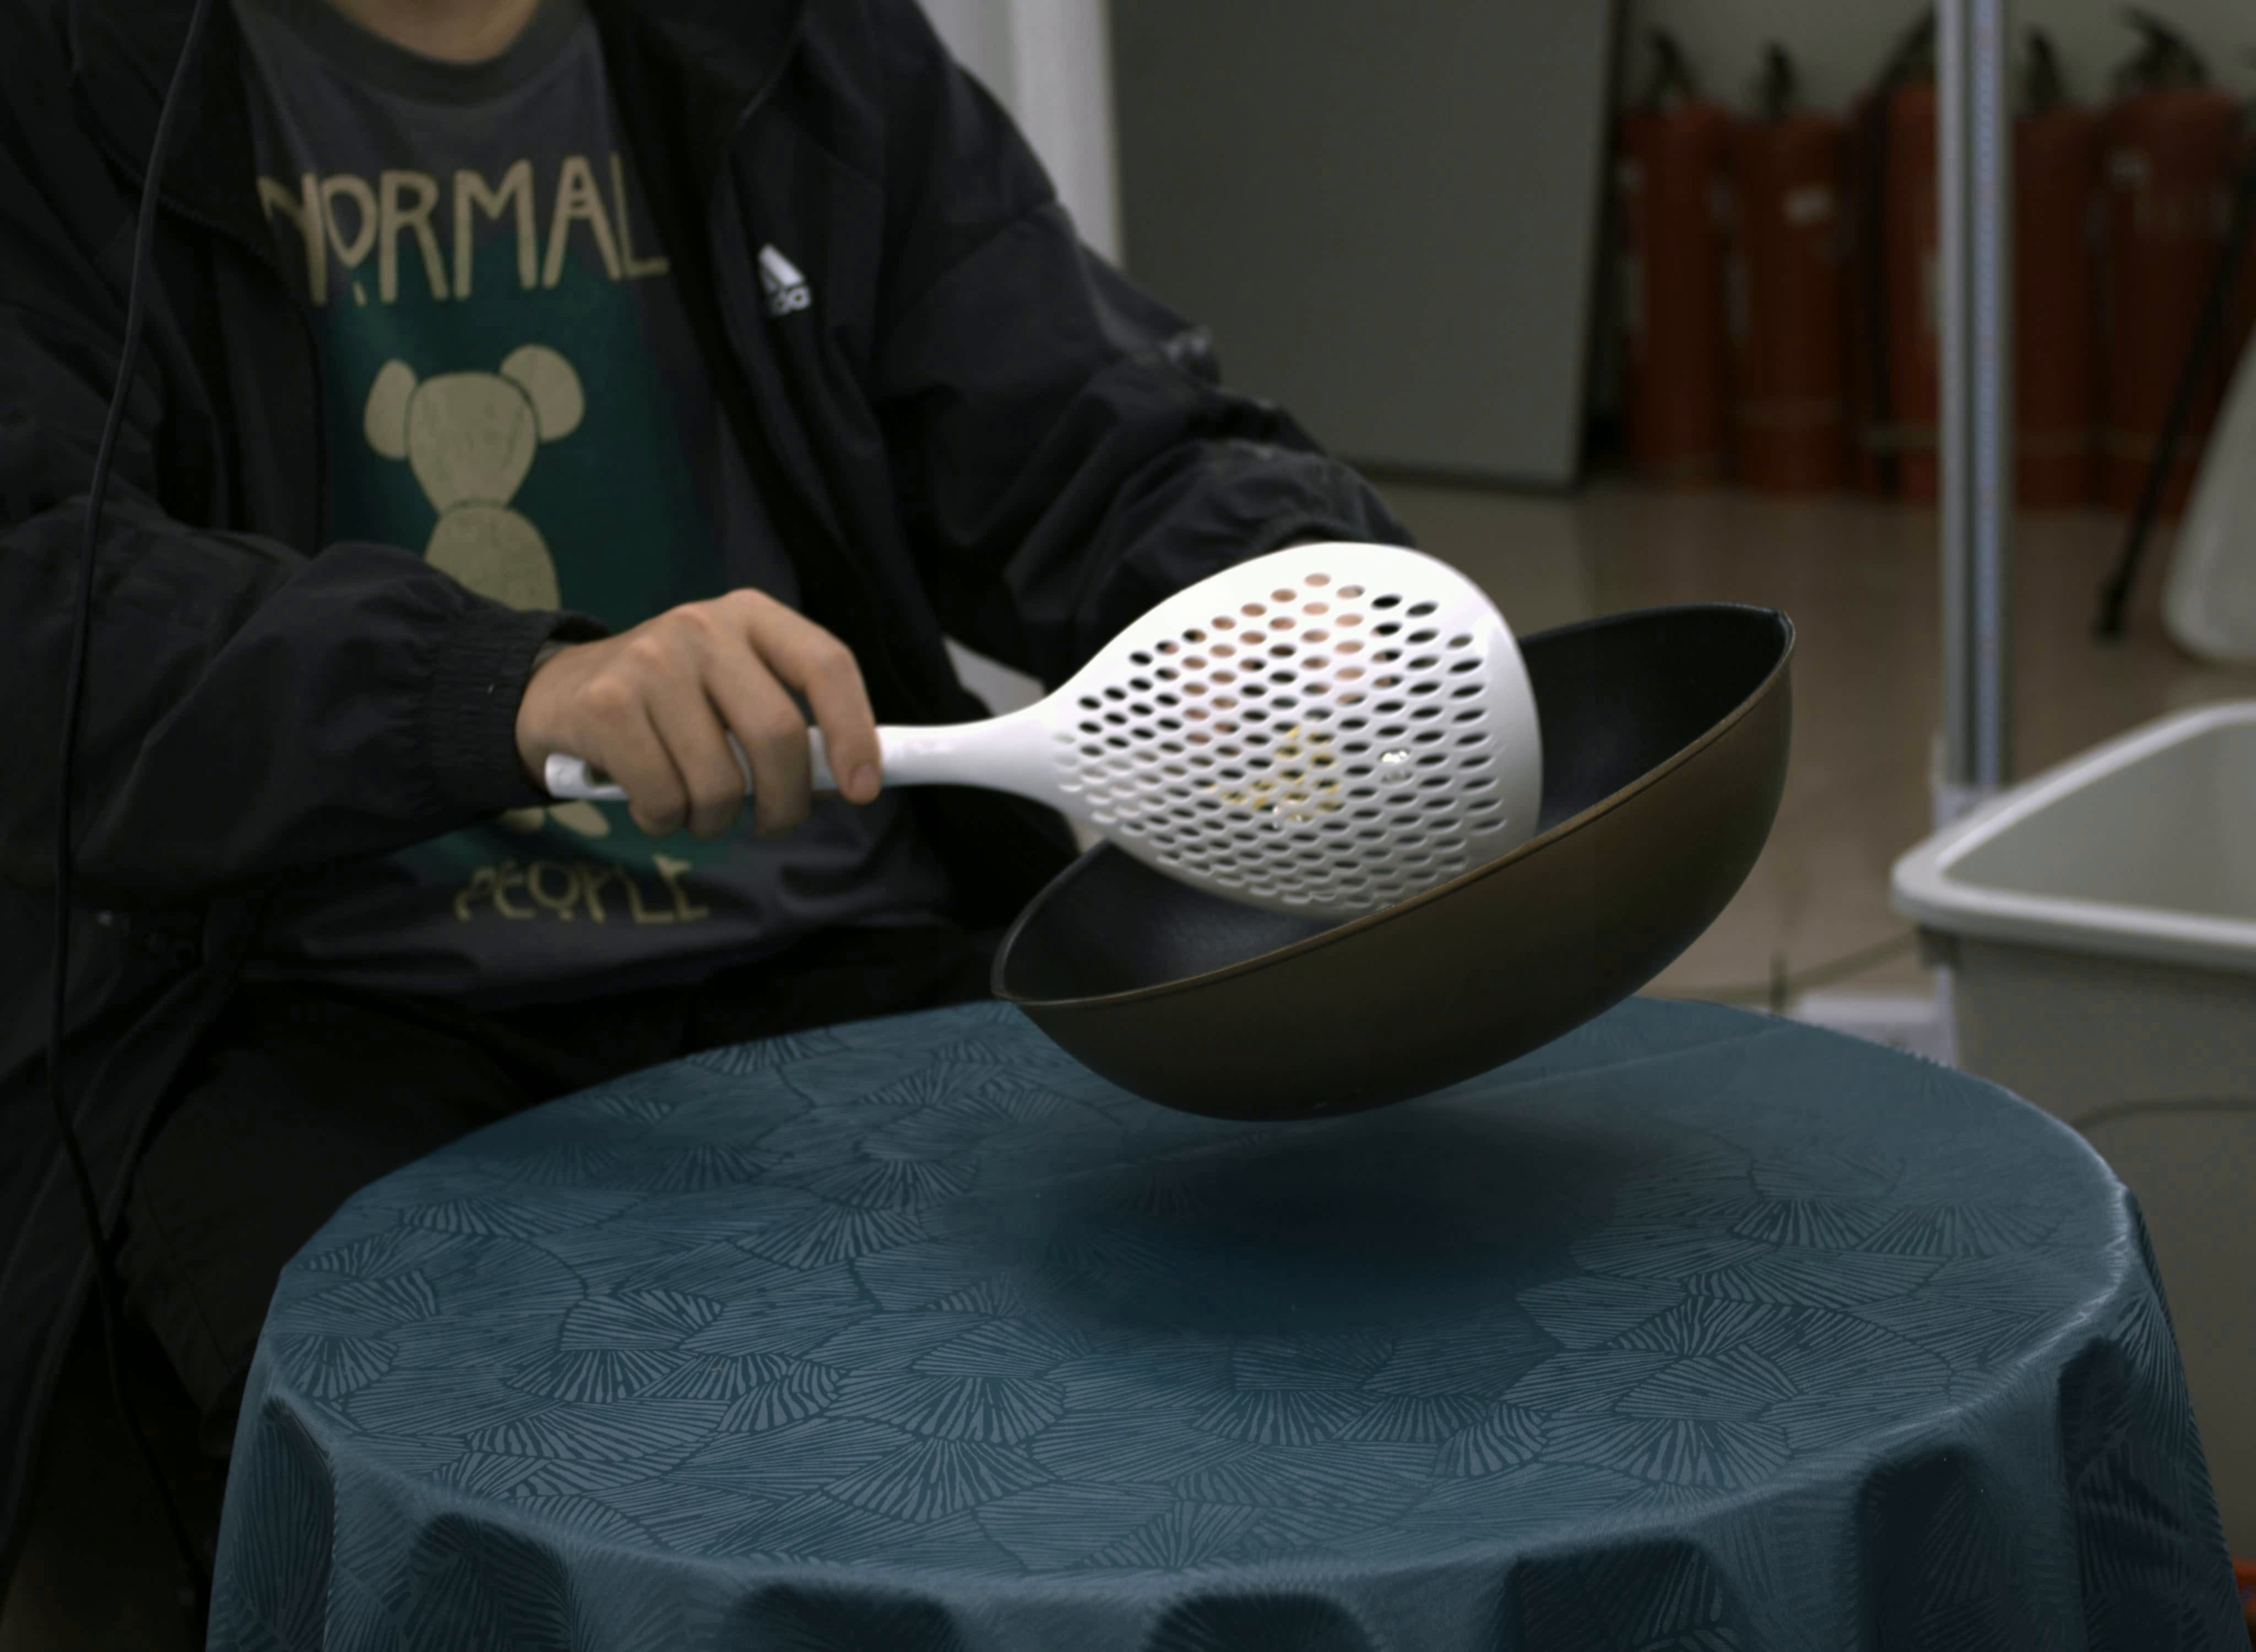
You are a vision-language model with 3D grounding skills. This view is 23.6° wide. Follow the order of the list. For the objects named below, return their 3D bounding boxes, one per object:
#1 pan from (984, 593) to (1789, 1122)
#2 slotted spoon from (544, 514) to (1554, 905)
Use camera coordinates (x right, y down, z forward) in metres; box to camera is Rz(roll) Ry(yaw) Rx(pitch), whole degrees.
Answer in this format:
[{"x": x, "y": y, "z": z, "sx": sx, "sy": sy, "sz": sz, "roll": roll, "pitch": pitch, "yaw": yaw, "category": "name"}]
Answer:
[{"x": 0.084, "y": 0.007, "z": 1.832, "sx": 0.285, "sy": 0.087, "sz": 0.465, "roll": -26, "pitch": 12, "yaw": -3, "category": "pan"}, {"x": -0.029, "y": -0.025, "z": 1.804, "sx": 0.347, "sy": 0.138, "sz": 0.050, "roll": -2, "pitch": 20, "yaw": 22, "category": "slotted spoon"}]
